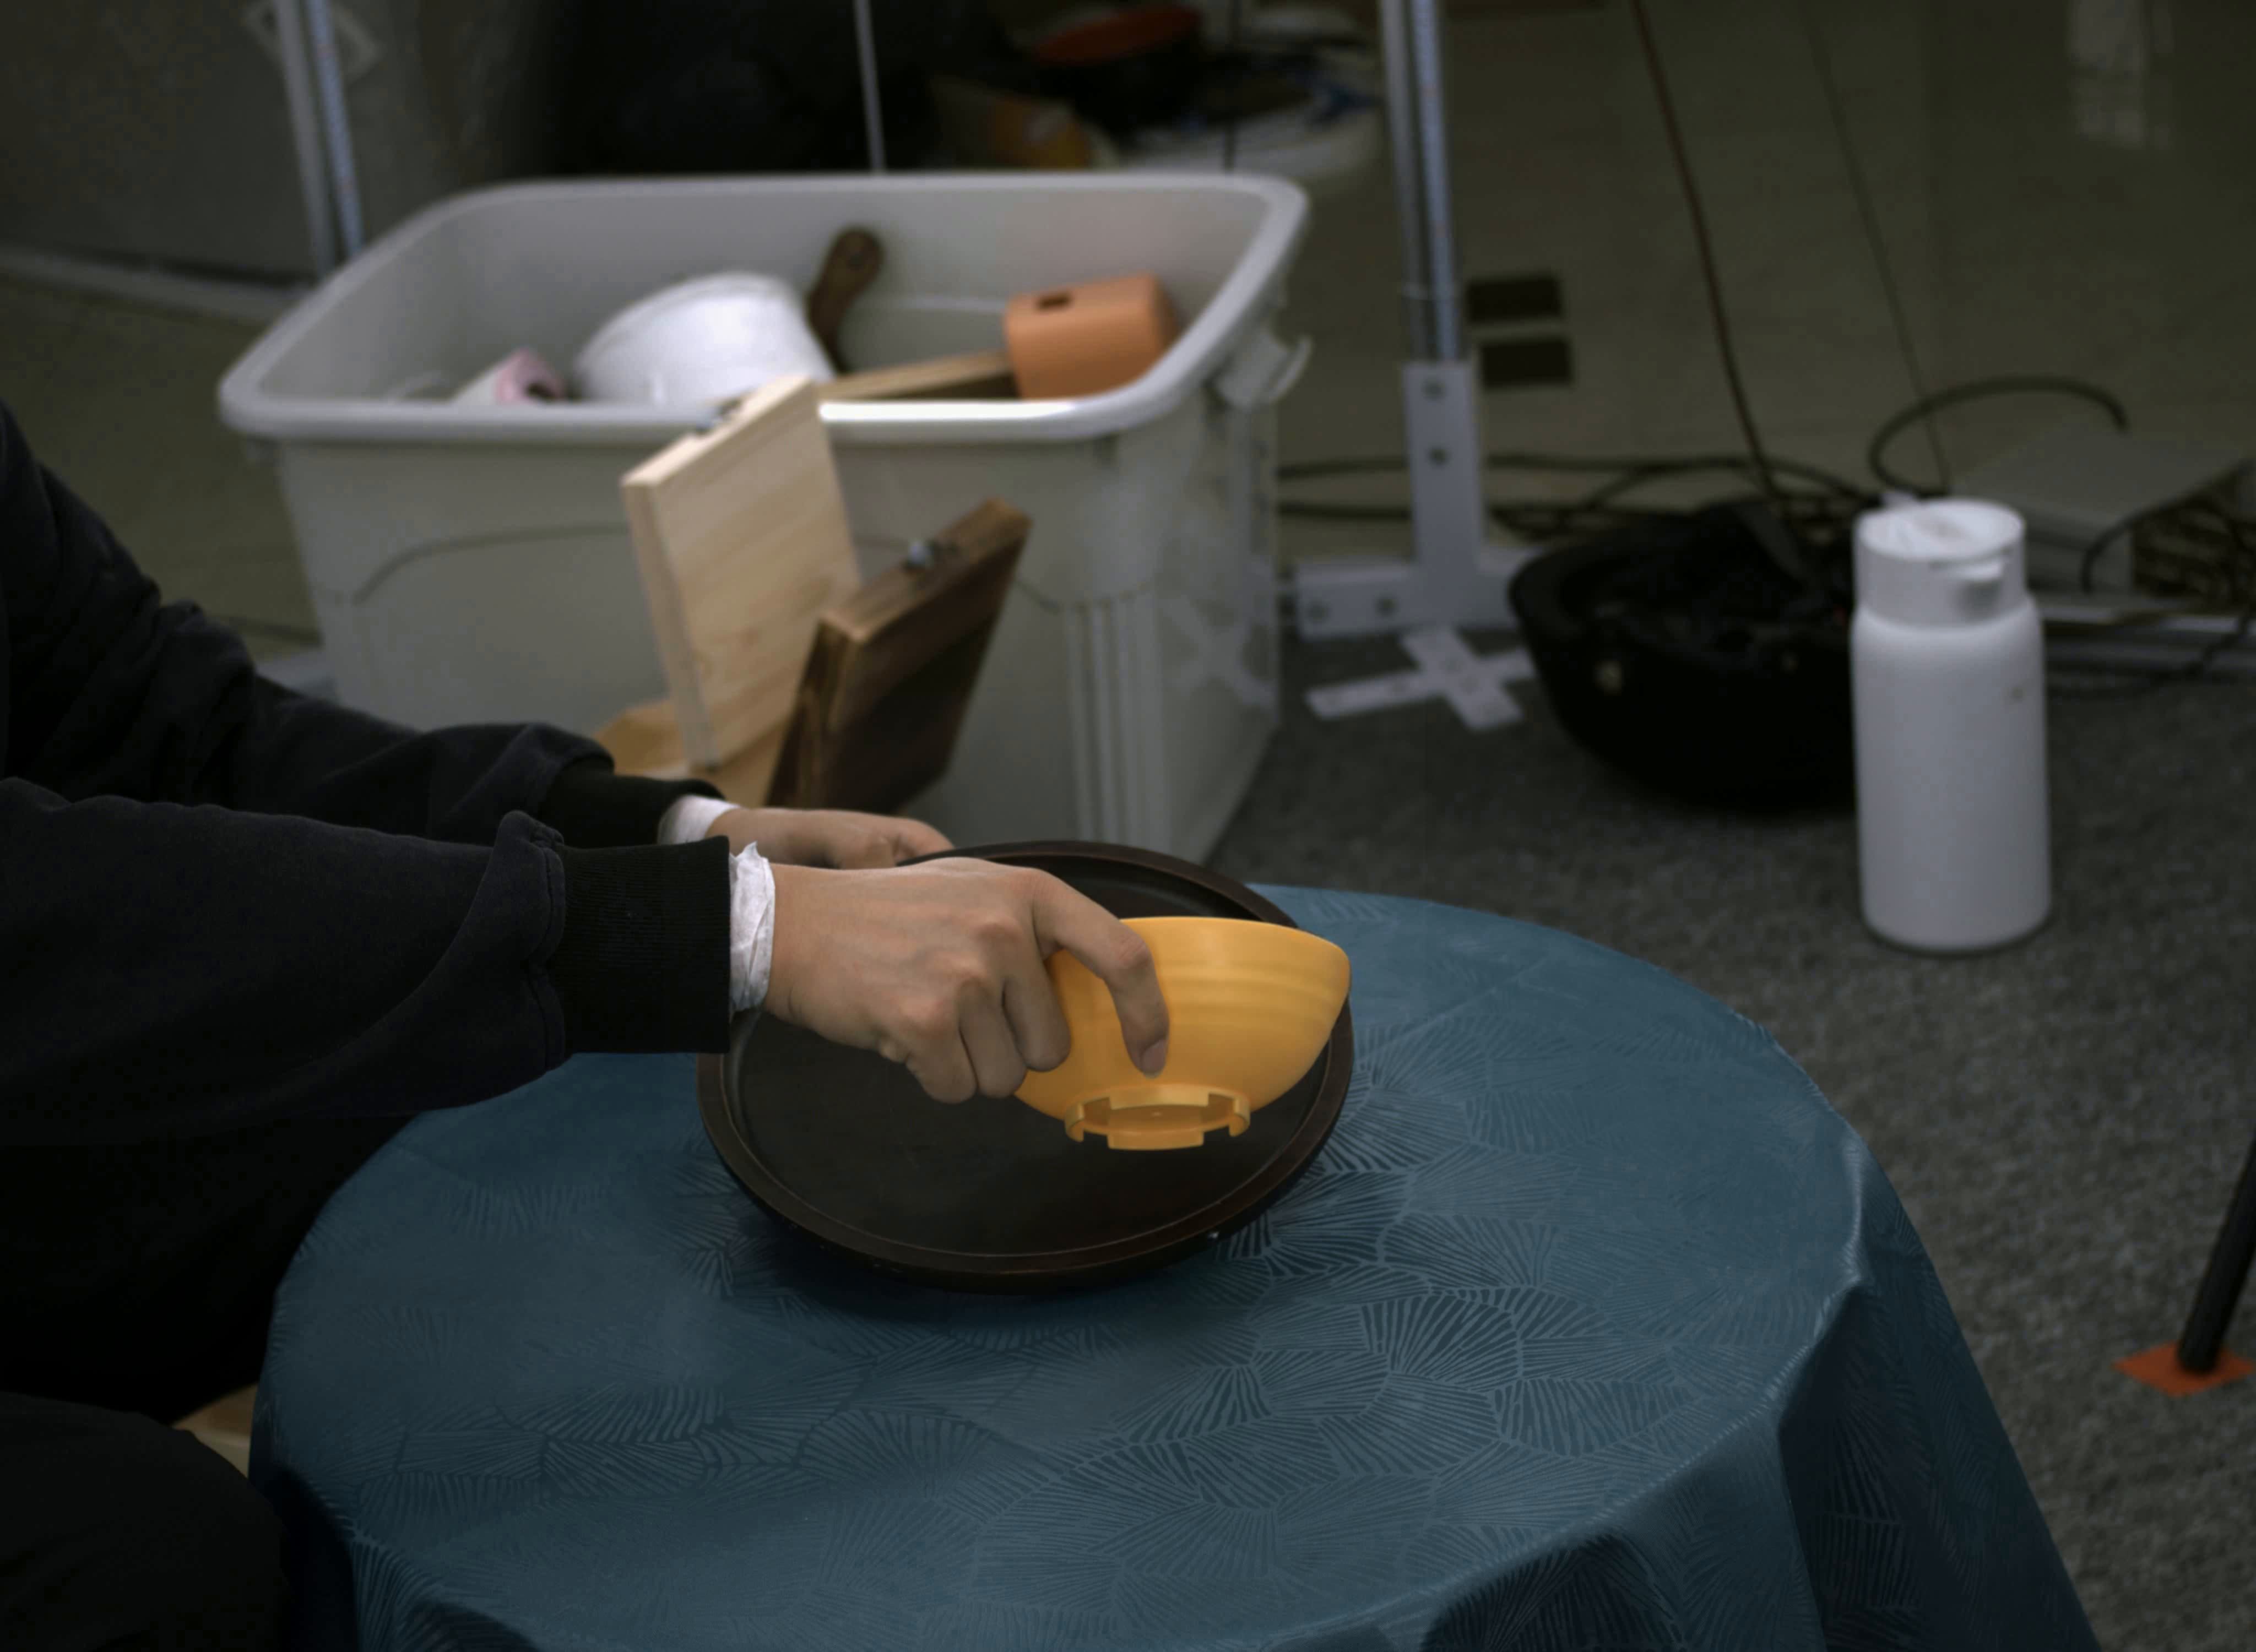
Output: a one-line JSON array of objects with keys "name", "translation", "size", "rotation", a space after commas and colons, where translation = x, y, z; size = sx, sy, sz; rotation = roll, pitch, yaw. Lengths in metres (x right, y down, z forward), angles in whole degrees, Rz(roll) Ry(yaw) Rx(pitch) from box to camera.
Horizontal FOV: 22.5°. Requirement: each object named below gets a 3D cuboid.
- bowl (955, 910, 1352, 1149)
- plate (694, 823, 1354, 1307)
[{"name": "bowl", "translation": [0.010, 0.080, 2.046], "size": [0.145, 0.059, 0.147], "rotation": [-1, -18, 0]}, {"name": "plate", "translation": [-0.040, 0.093, 2.169], "size": [0.254, 0.029, 0.250], "rotation": [-2, 42, 2]}]
